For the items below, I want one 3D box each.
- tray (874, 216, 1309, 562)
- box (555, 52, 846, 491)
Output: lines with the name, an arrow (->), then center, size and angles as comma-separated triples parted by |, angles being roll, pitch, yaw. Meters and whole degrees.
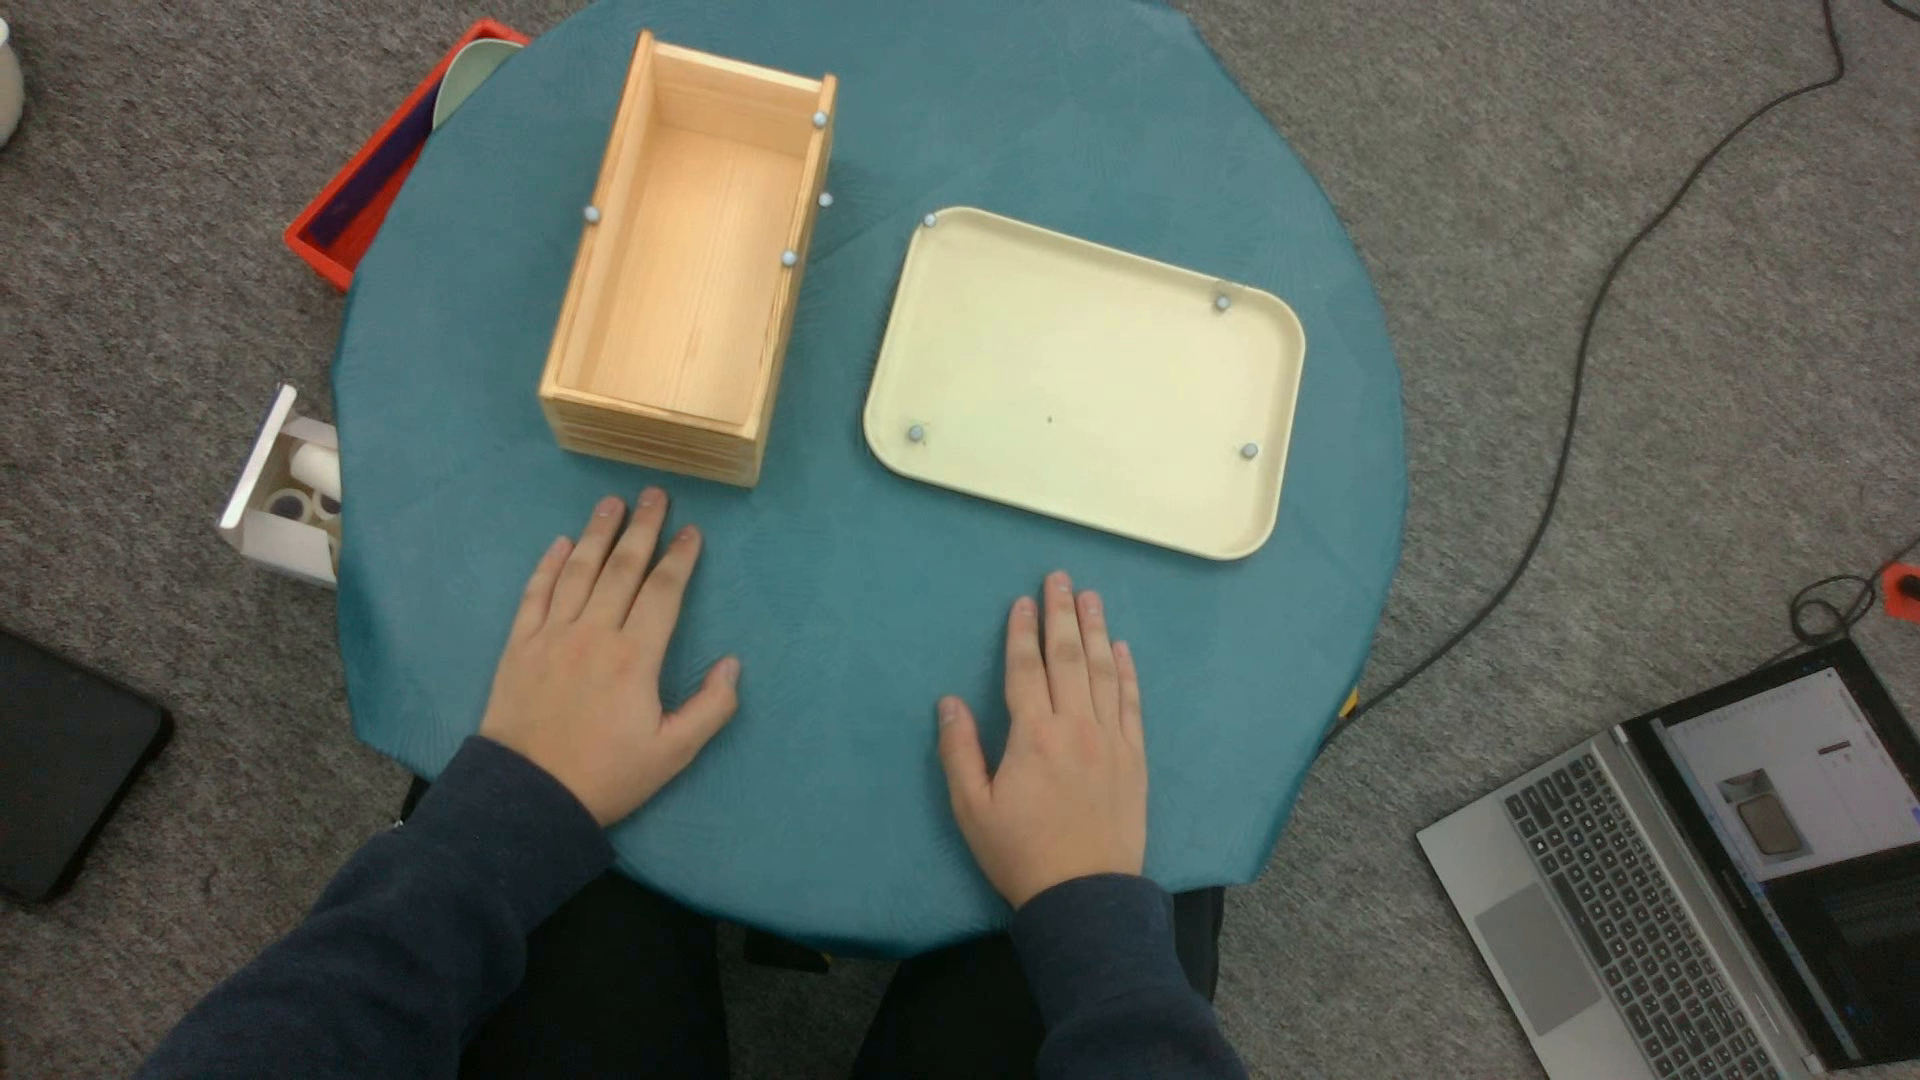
tray -> 0.079, -0.088, 0.798 | 0.240, 0.017, 0.172 | 15, 73, -3
box -> -0.136, -0.145, 0.752 | 0.107, 0.080, 0.212 | 11, 73, -4
